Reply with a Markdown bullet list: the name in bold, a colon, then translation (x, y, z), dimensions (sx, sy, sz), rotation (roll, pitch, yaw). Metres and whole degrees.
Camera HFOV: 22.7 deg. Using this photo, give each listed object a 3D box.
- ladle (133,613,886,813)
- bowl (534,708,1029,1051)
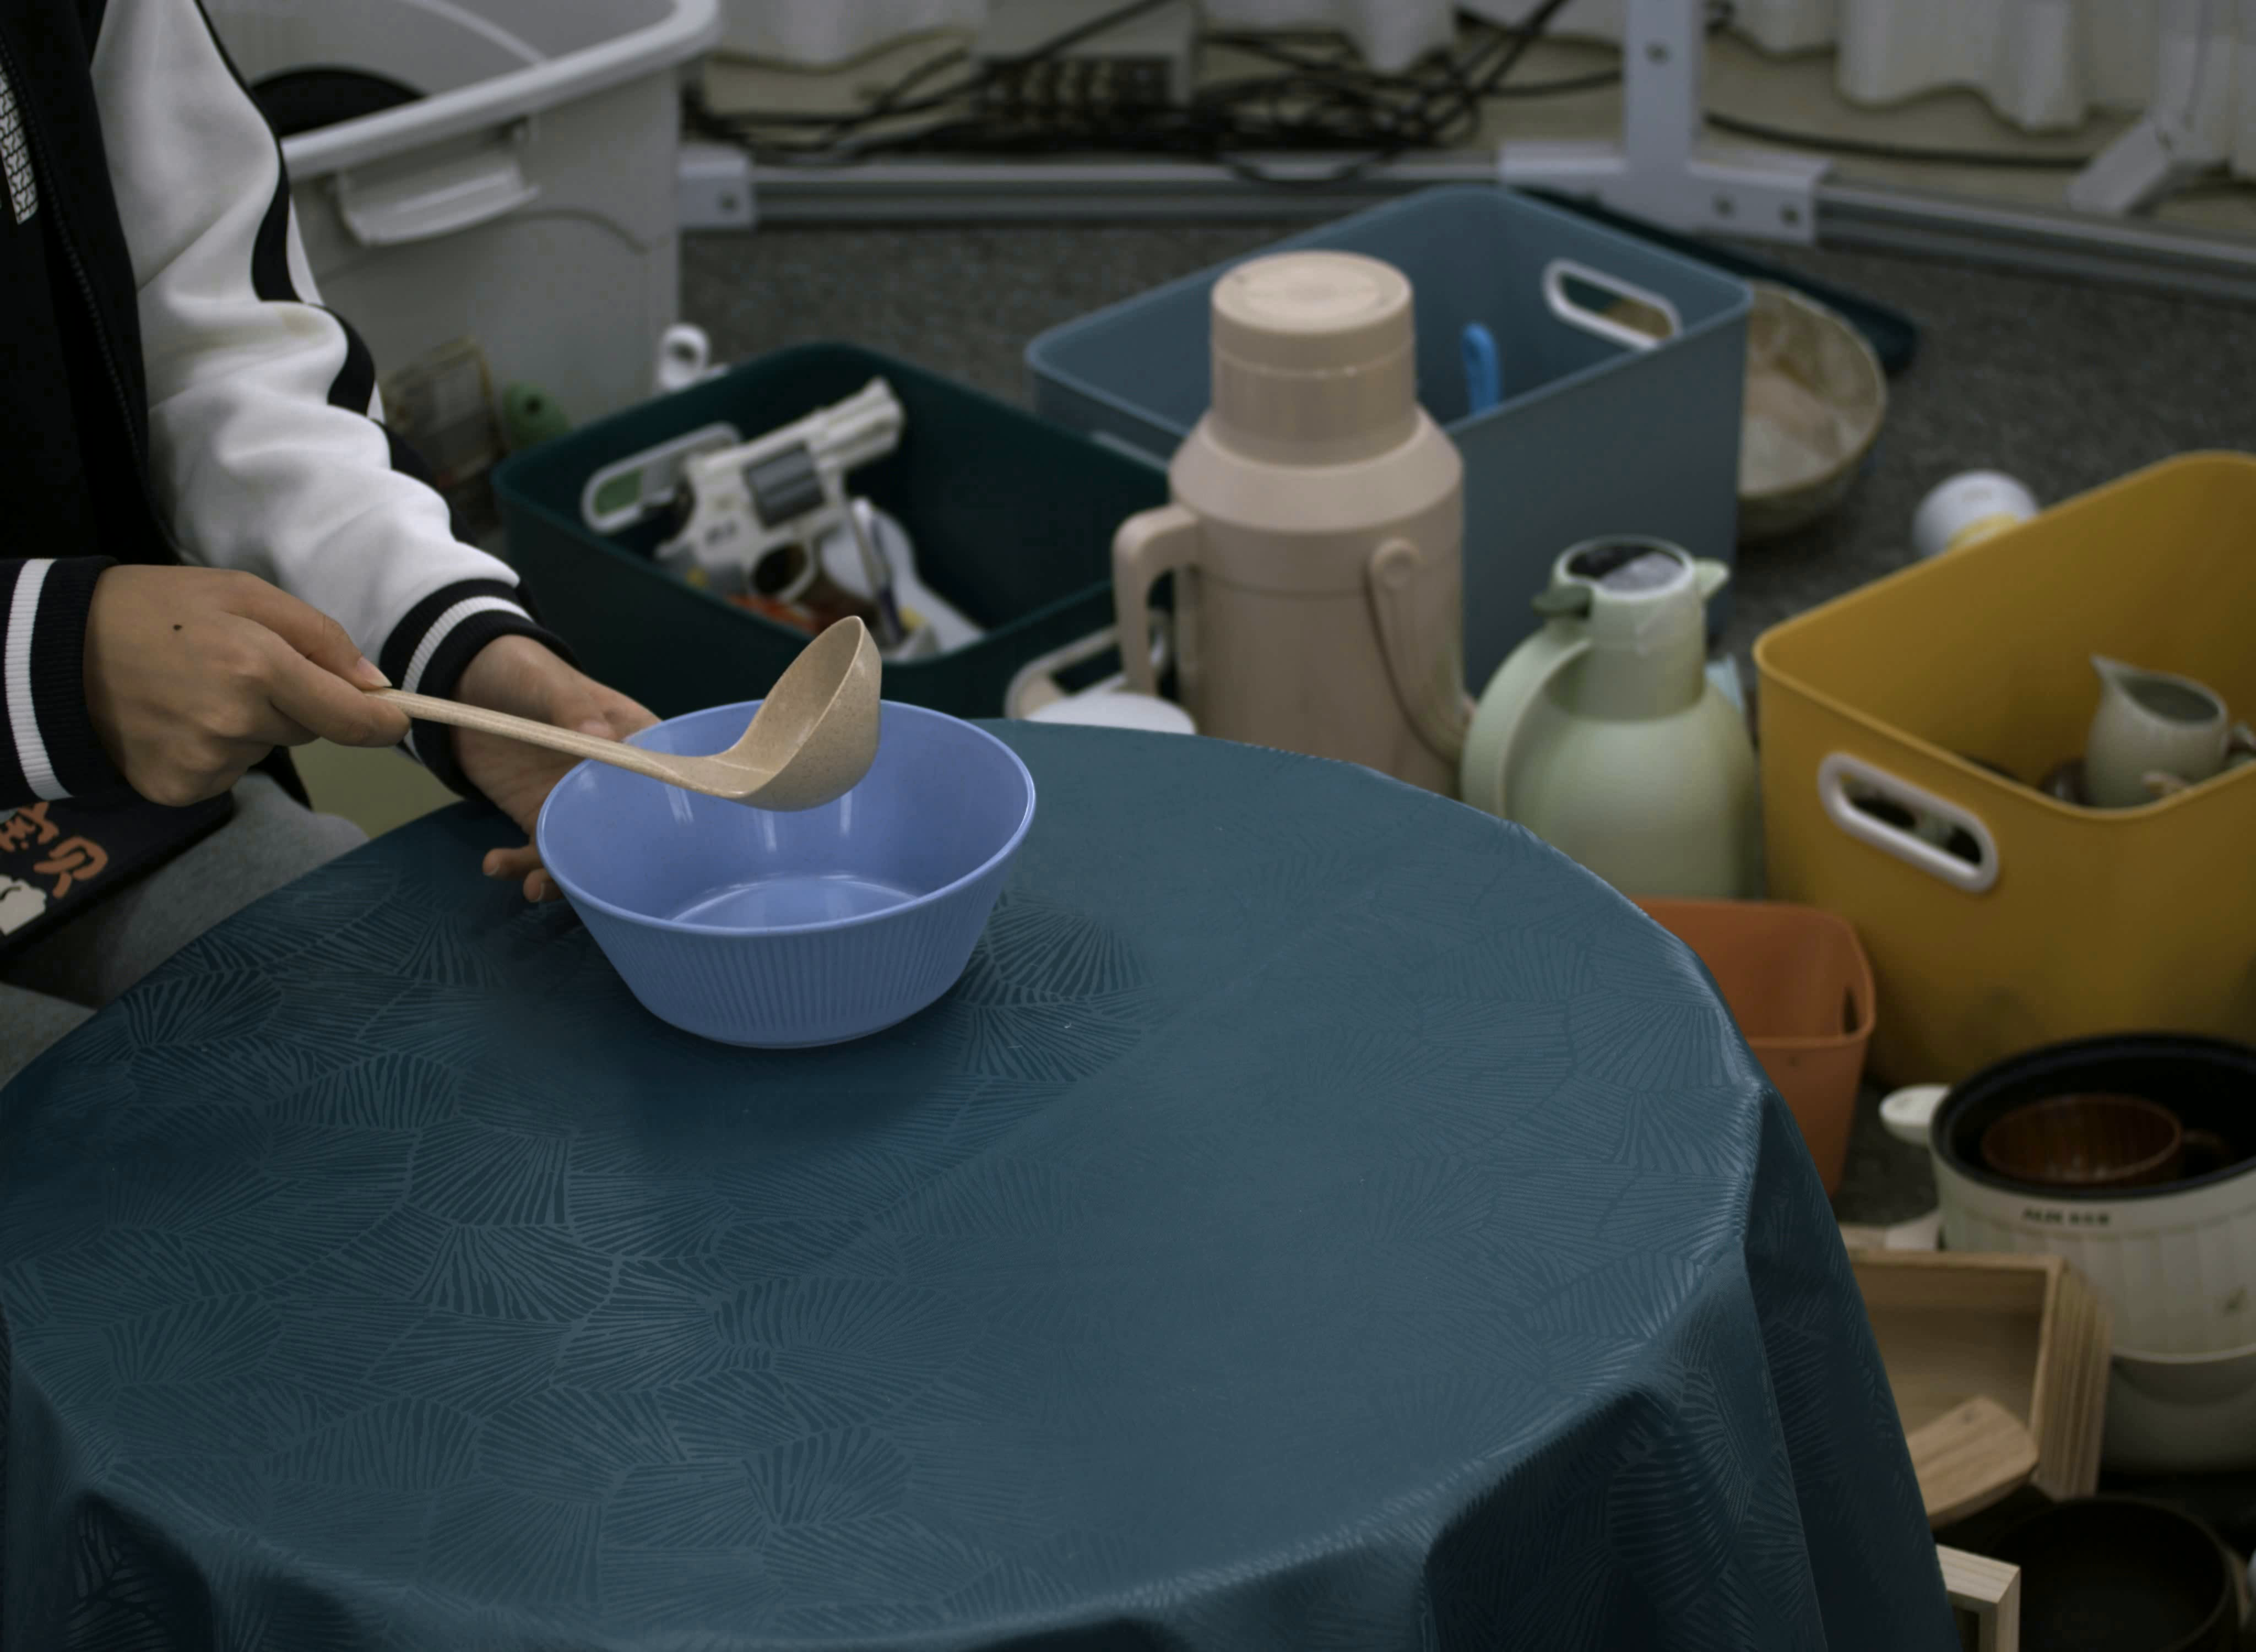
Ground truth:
- **ladle**: translation (-0.208, -0.056, 1.924), dimensions (0.254, 0.072, 0.073), rotation (10, 24, -11)
- **bowl**: translation (-0.120, 0.024, 1.987), dimensions (0.175, 0.069, 0.179), rotation (-2, 27, 1)
